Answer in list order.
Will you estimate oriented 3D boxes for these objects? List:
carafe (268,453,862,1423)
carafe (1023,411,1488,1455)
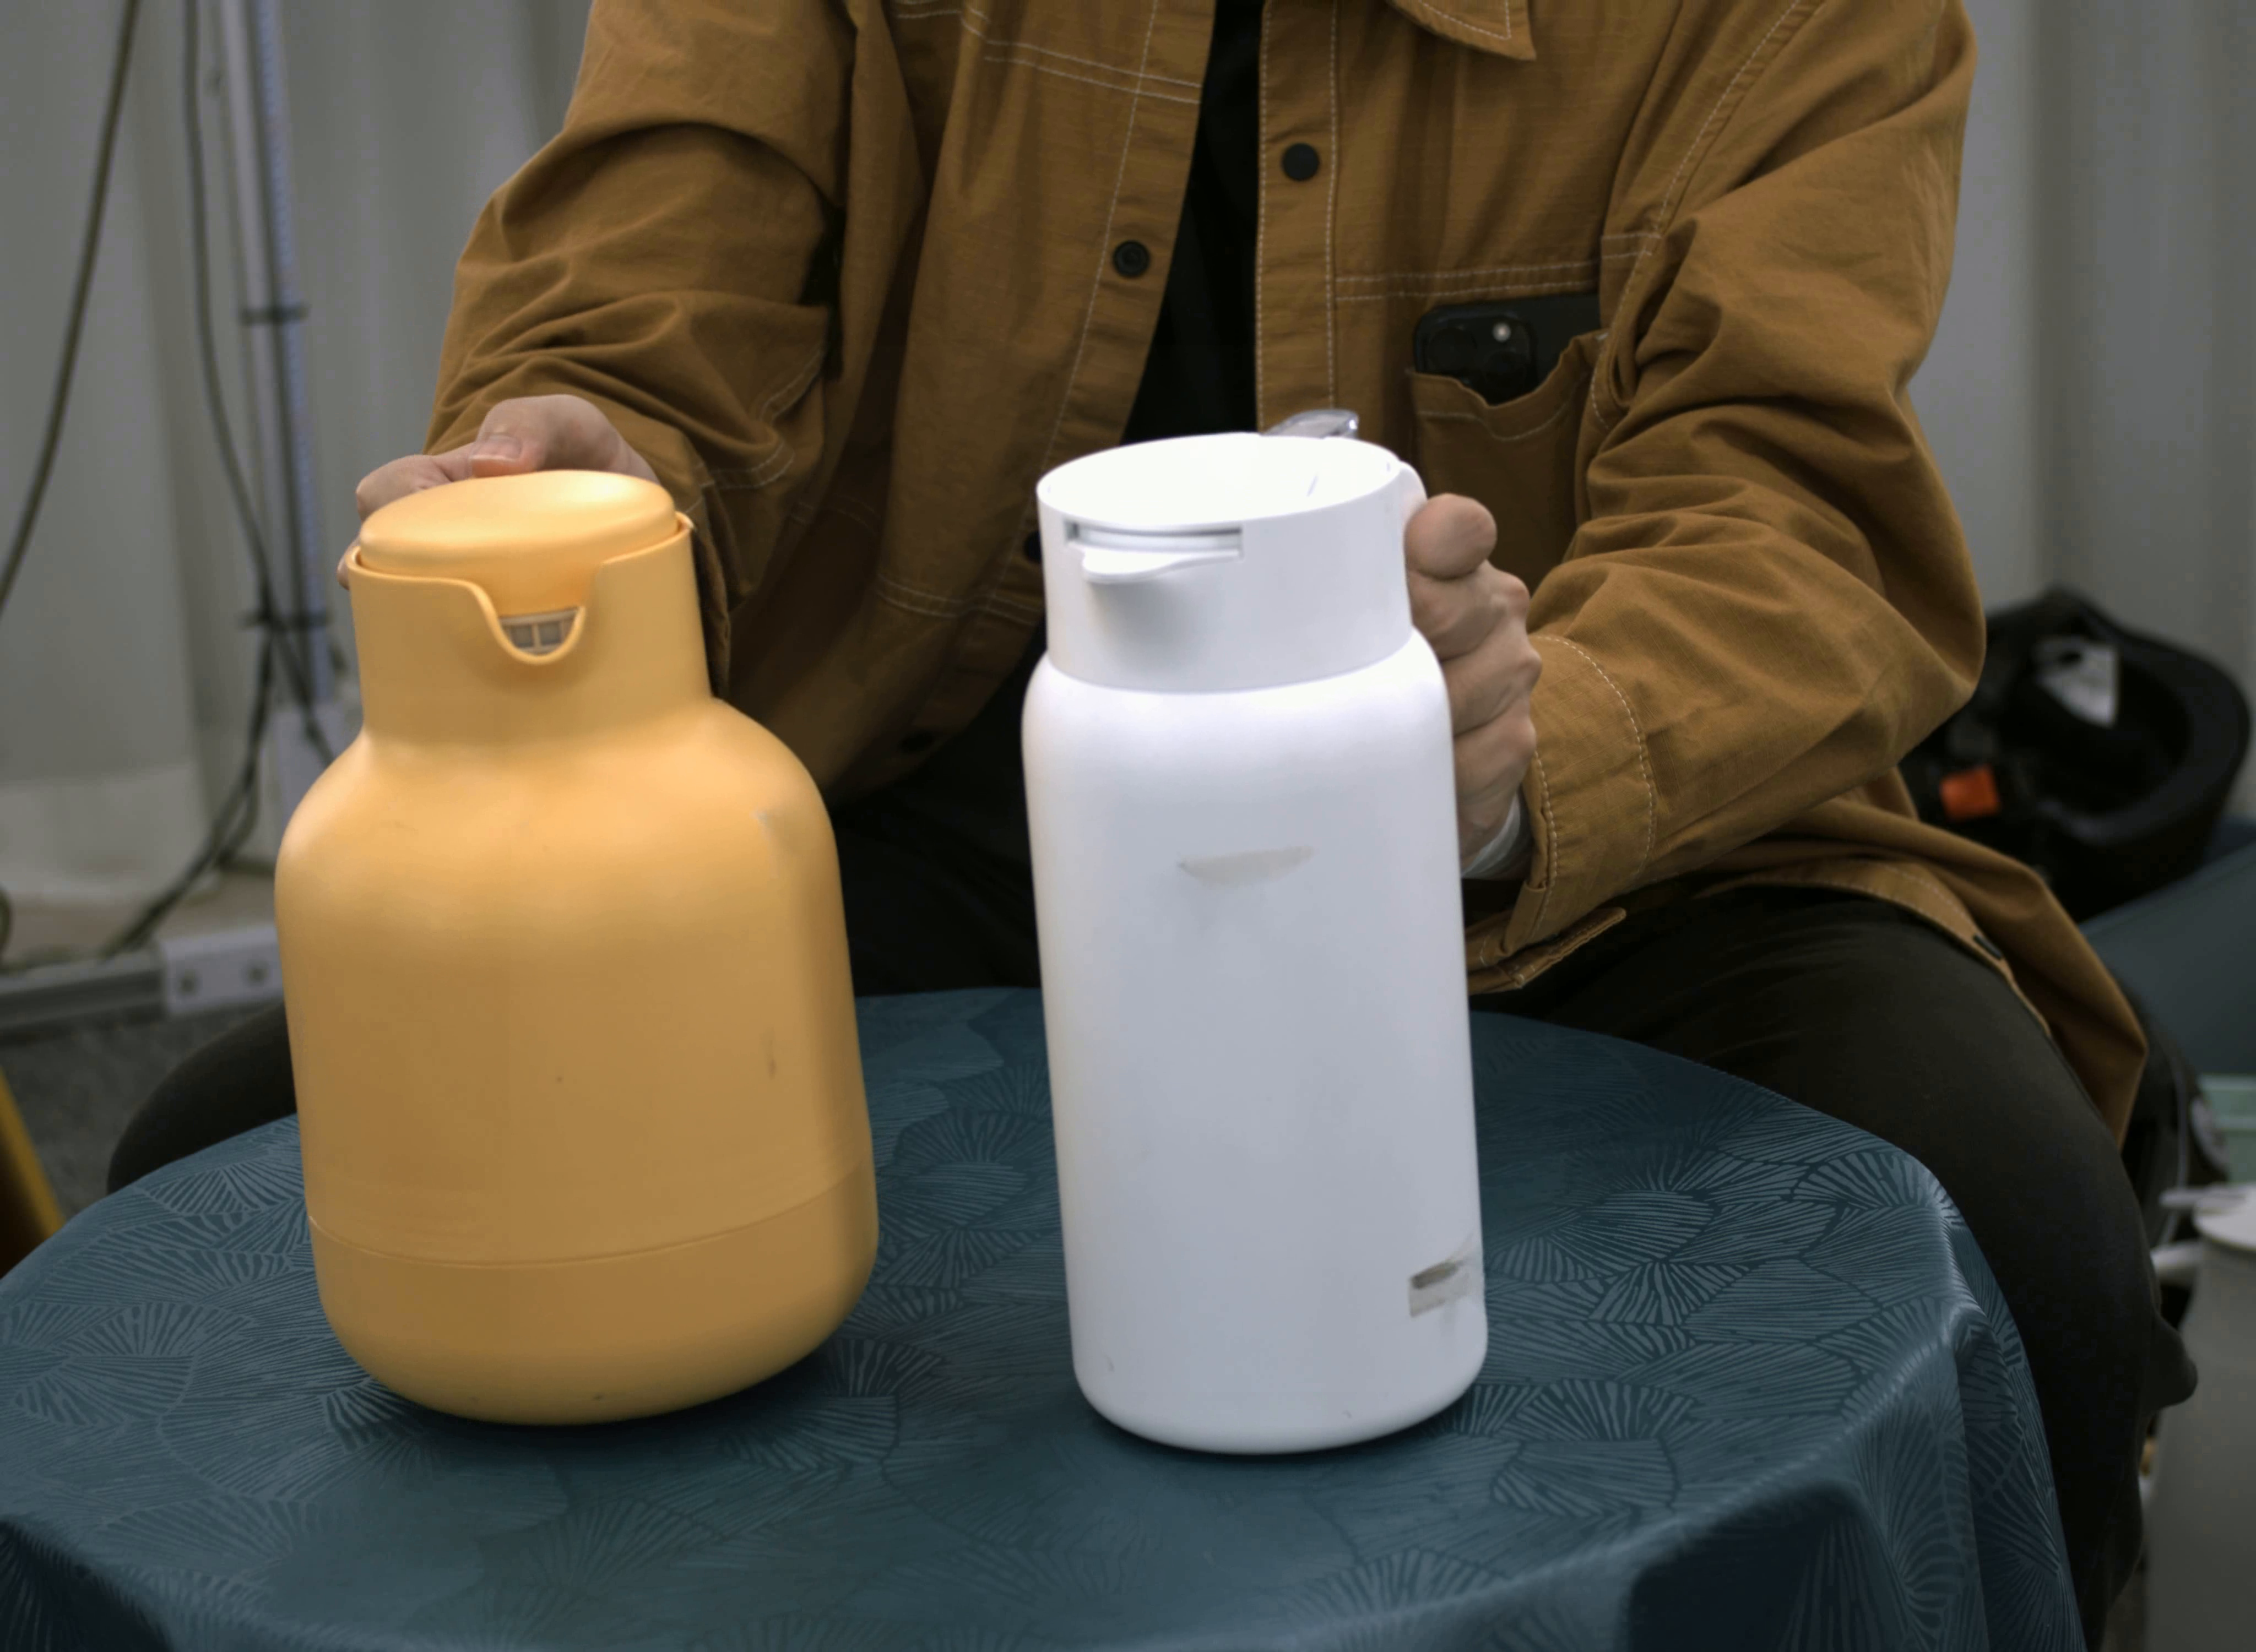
[{"bbox_3d":[-0.163,0.023,1.573,0.163,0.259,0.204,-4,15,-7],"label":"carafe"},{"bbox_3d":[0.041,0.025,1.516,0.124,0.268,0.173,2,17,27],"label":"carafe"}]
